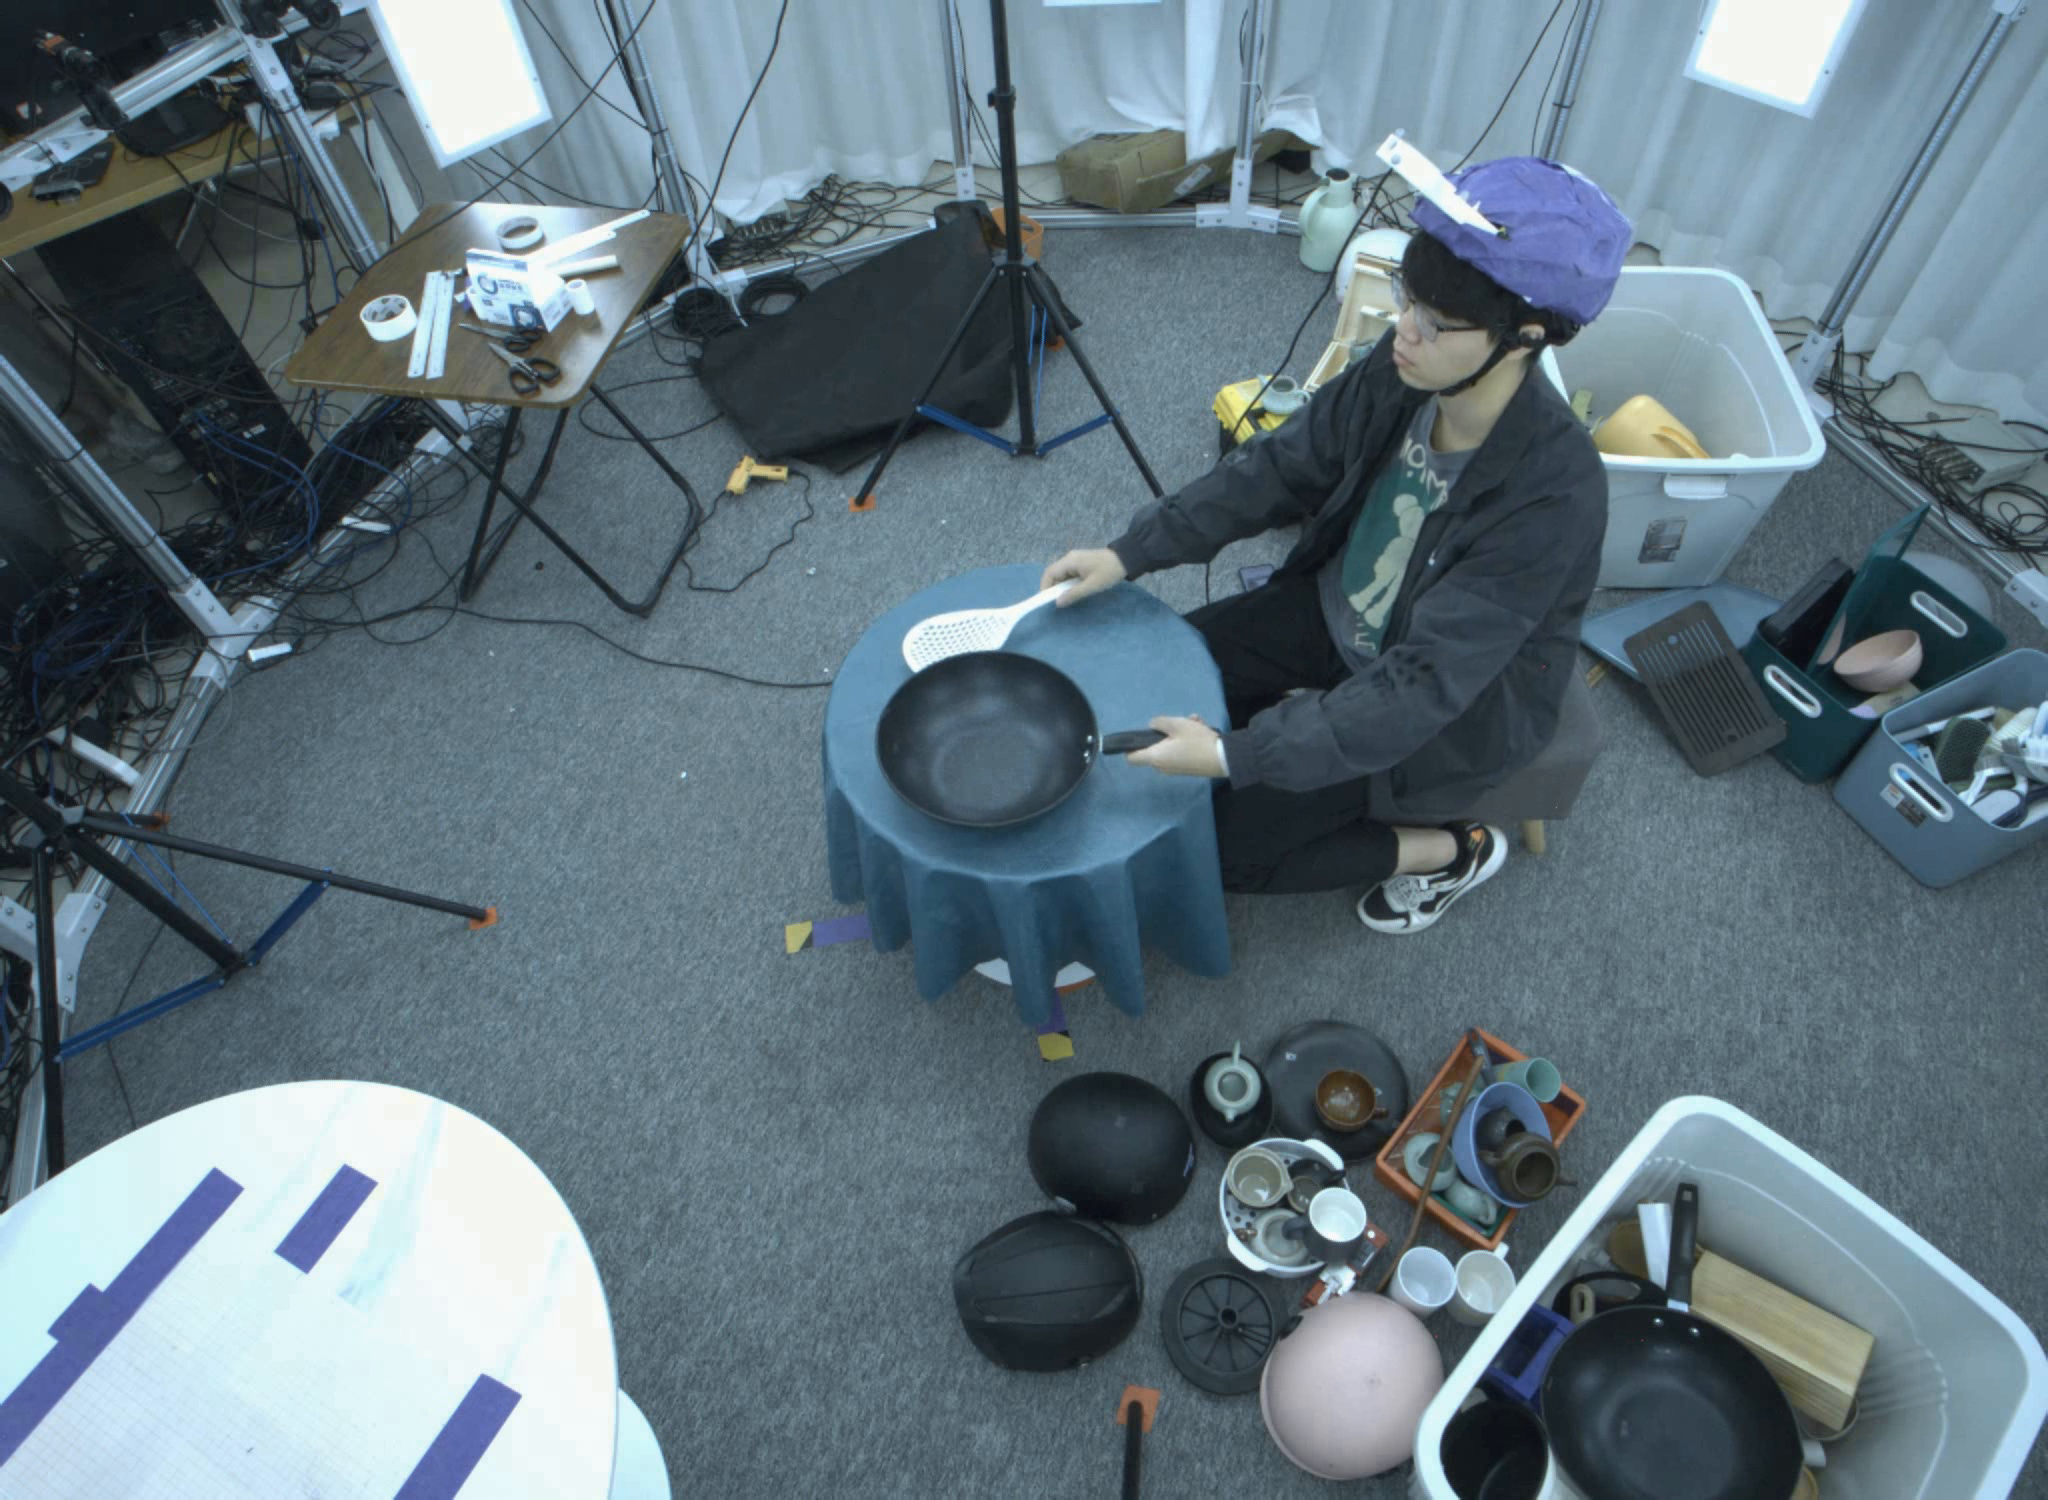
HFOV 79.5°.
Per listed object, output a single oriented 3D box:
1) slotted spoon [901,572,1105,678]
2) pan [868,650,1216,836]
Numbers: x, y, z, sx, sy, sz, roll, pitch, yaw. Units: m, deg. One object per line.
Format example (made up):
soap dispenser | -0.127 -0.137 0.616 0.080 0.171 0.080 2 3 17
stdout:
slotted spoon | -0.022 -0.202 1.886 0.350 0.051 0.134 -30 55 -12
pan | 0.024 0.001 1.713 0.476 0.113 0.307 3 55 3
